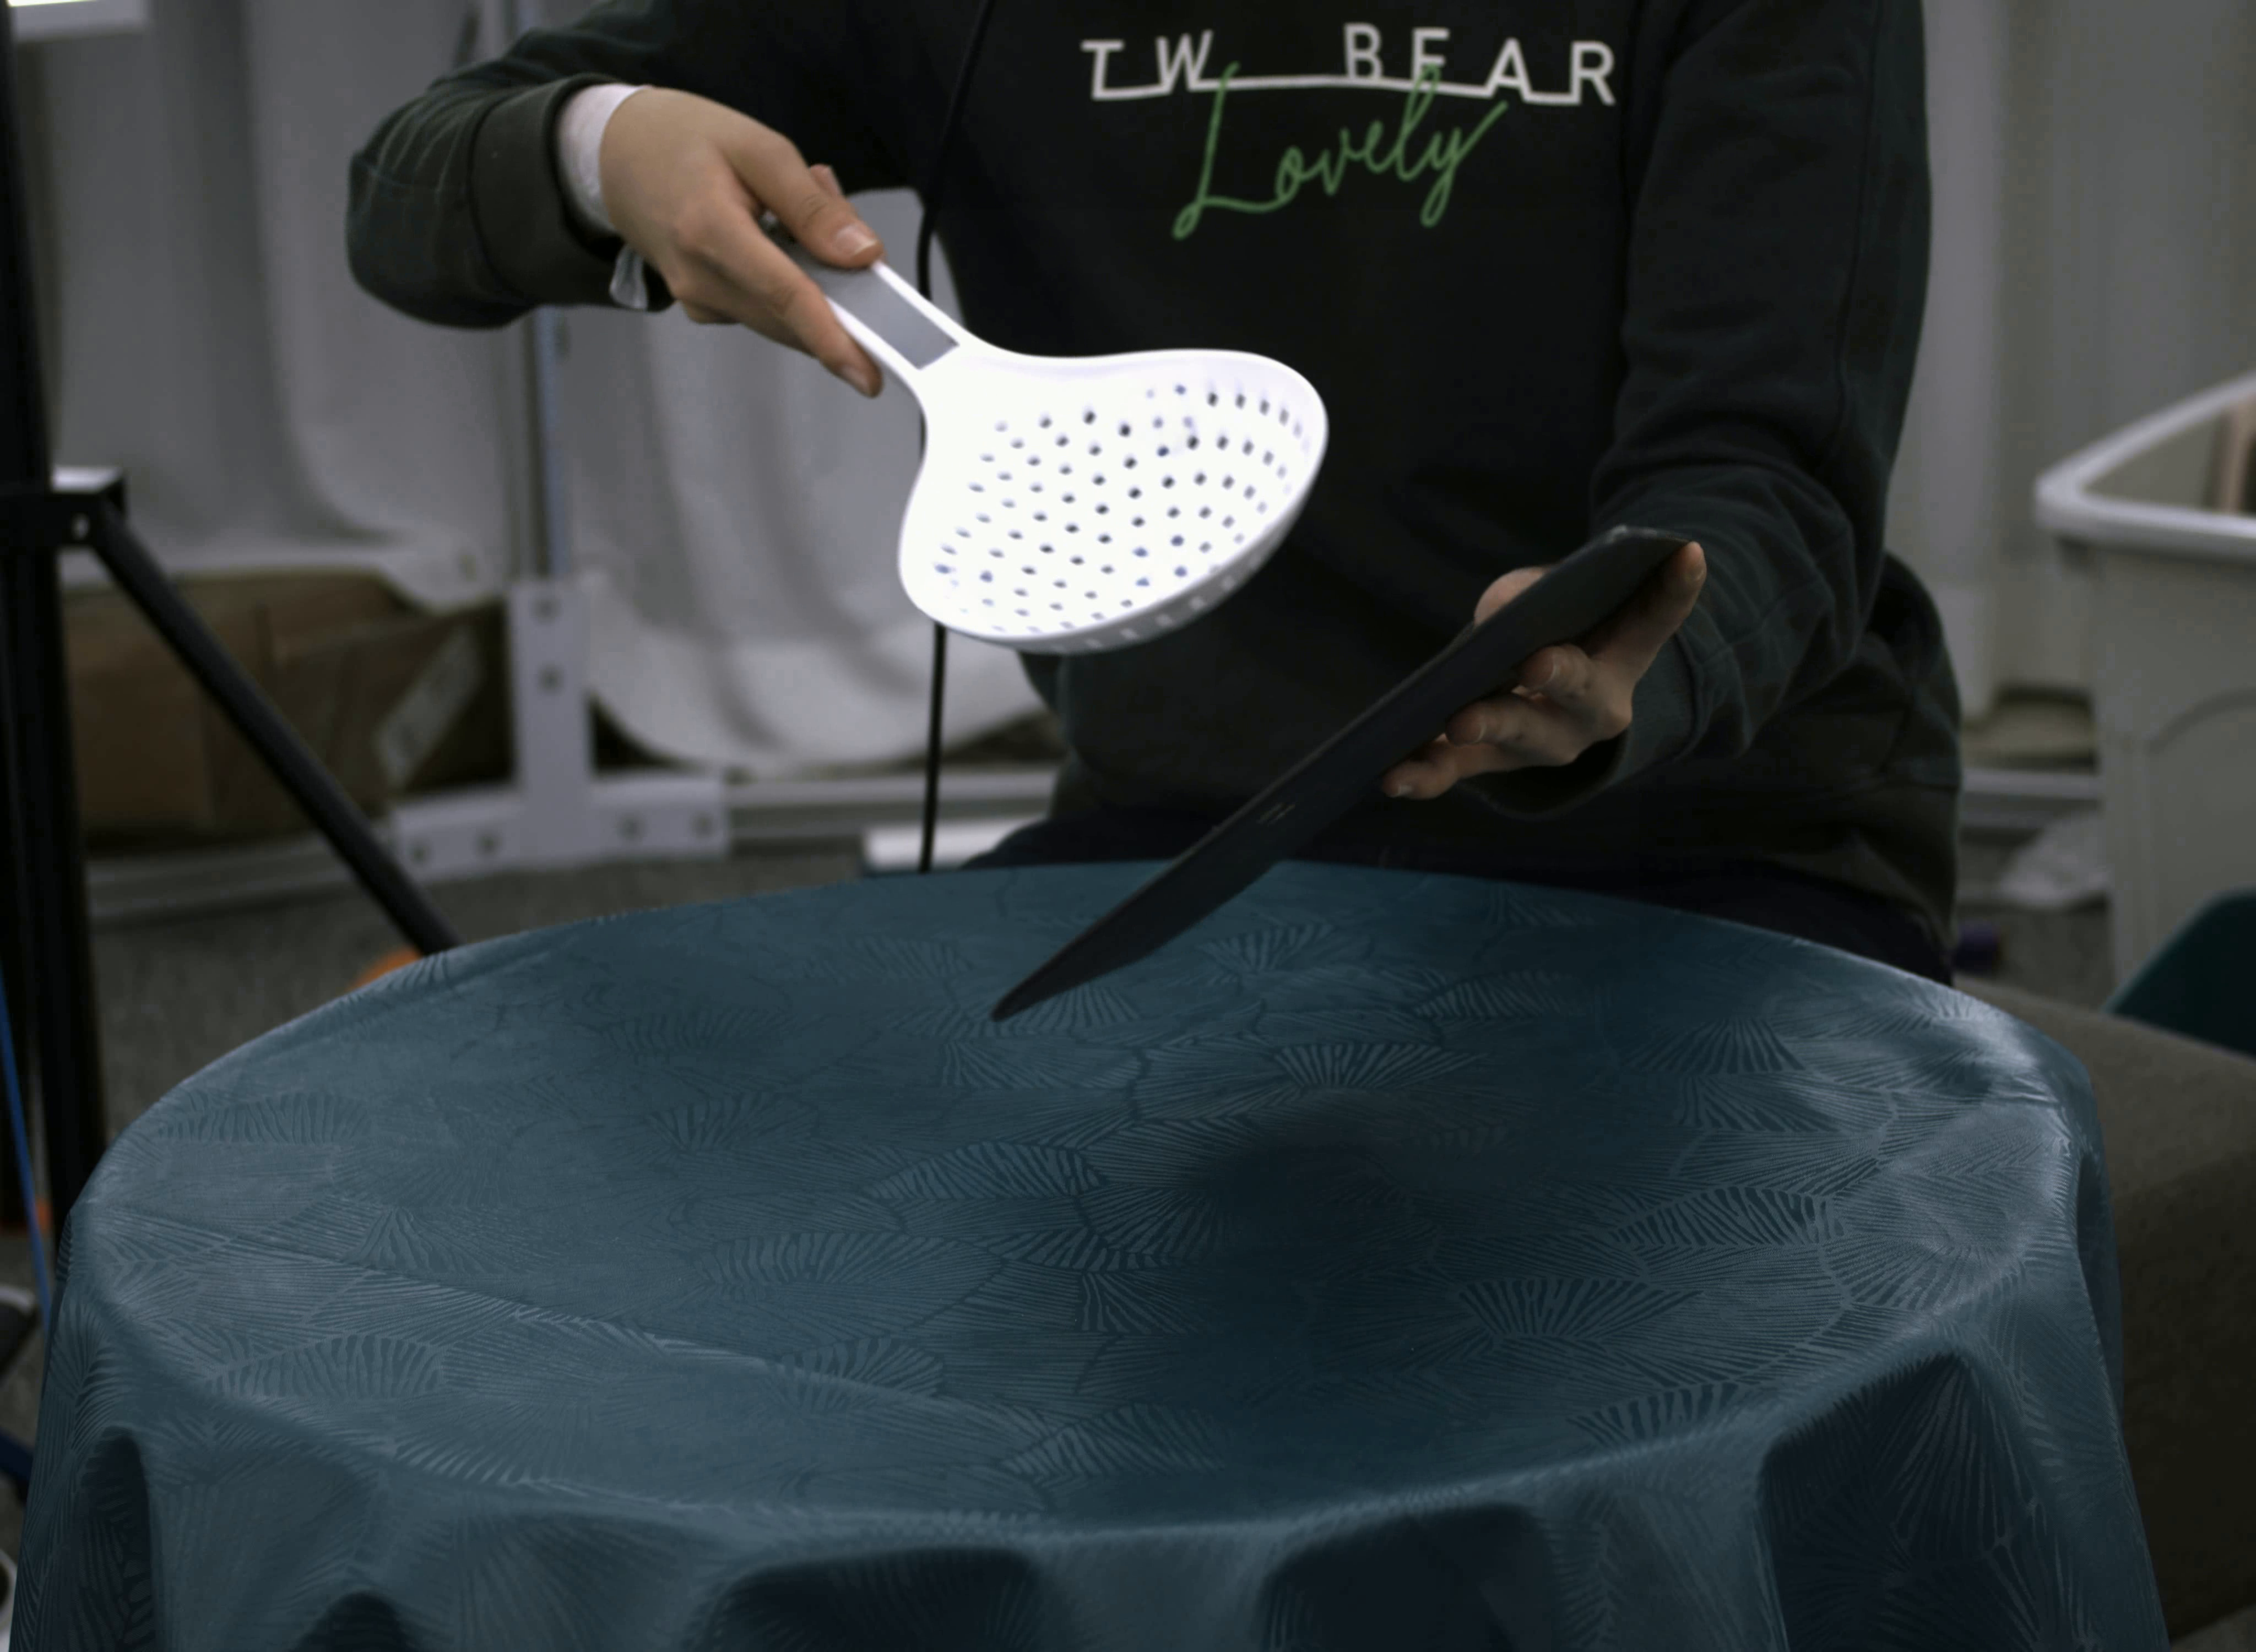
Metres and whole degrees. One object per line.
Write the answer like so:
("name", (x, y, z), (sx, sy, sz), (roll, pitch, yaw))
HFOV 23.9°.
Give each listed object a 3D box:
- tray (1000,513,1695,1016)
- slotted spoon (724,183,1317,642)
("tray", (0.068, -0.020, 1.482), (0.212, 0.010, 0.322), (-38, -4, 10))
("slotted spoon", (-0.052, -0.140, 1.682), (0.135, 0.045, 0.357), (-32, 38, -11))
